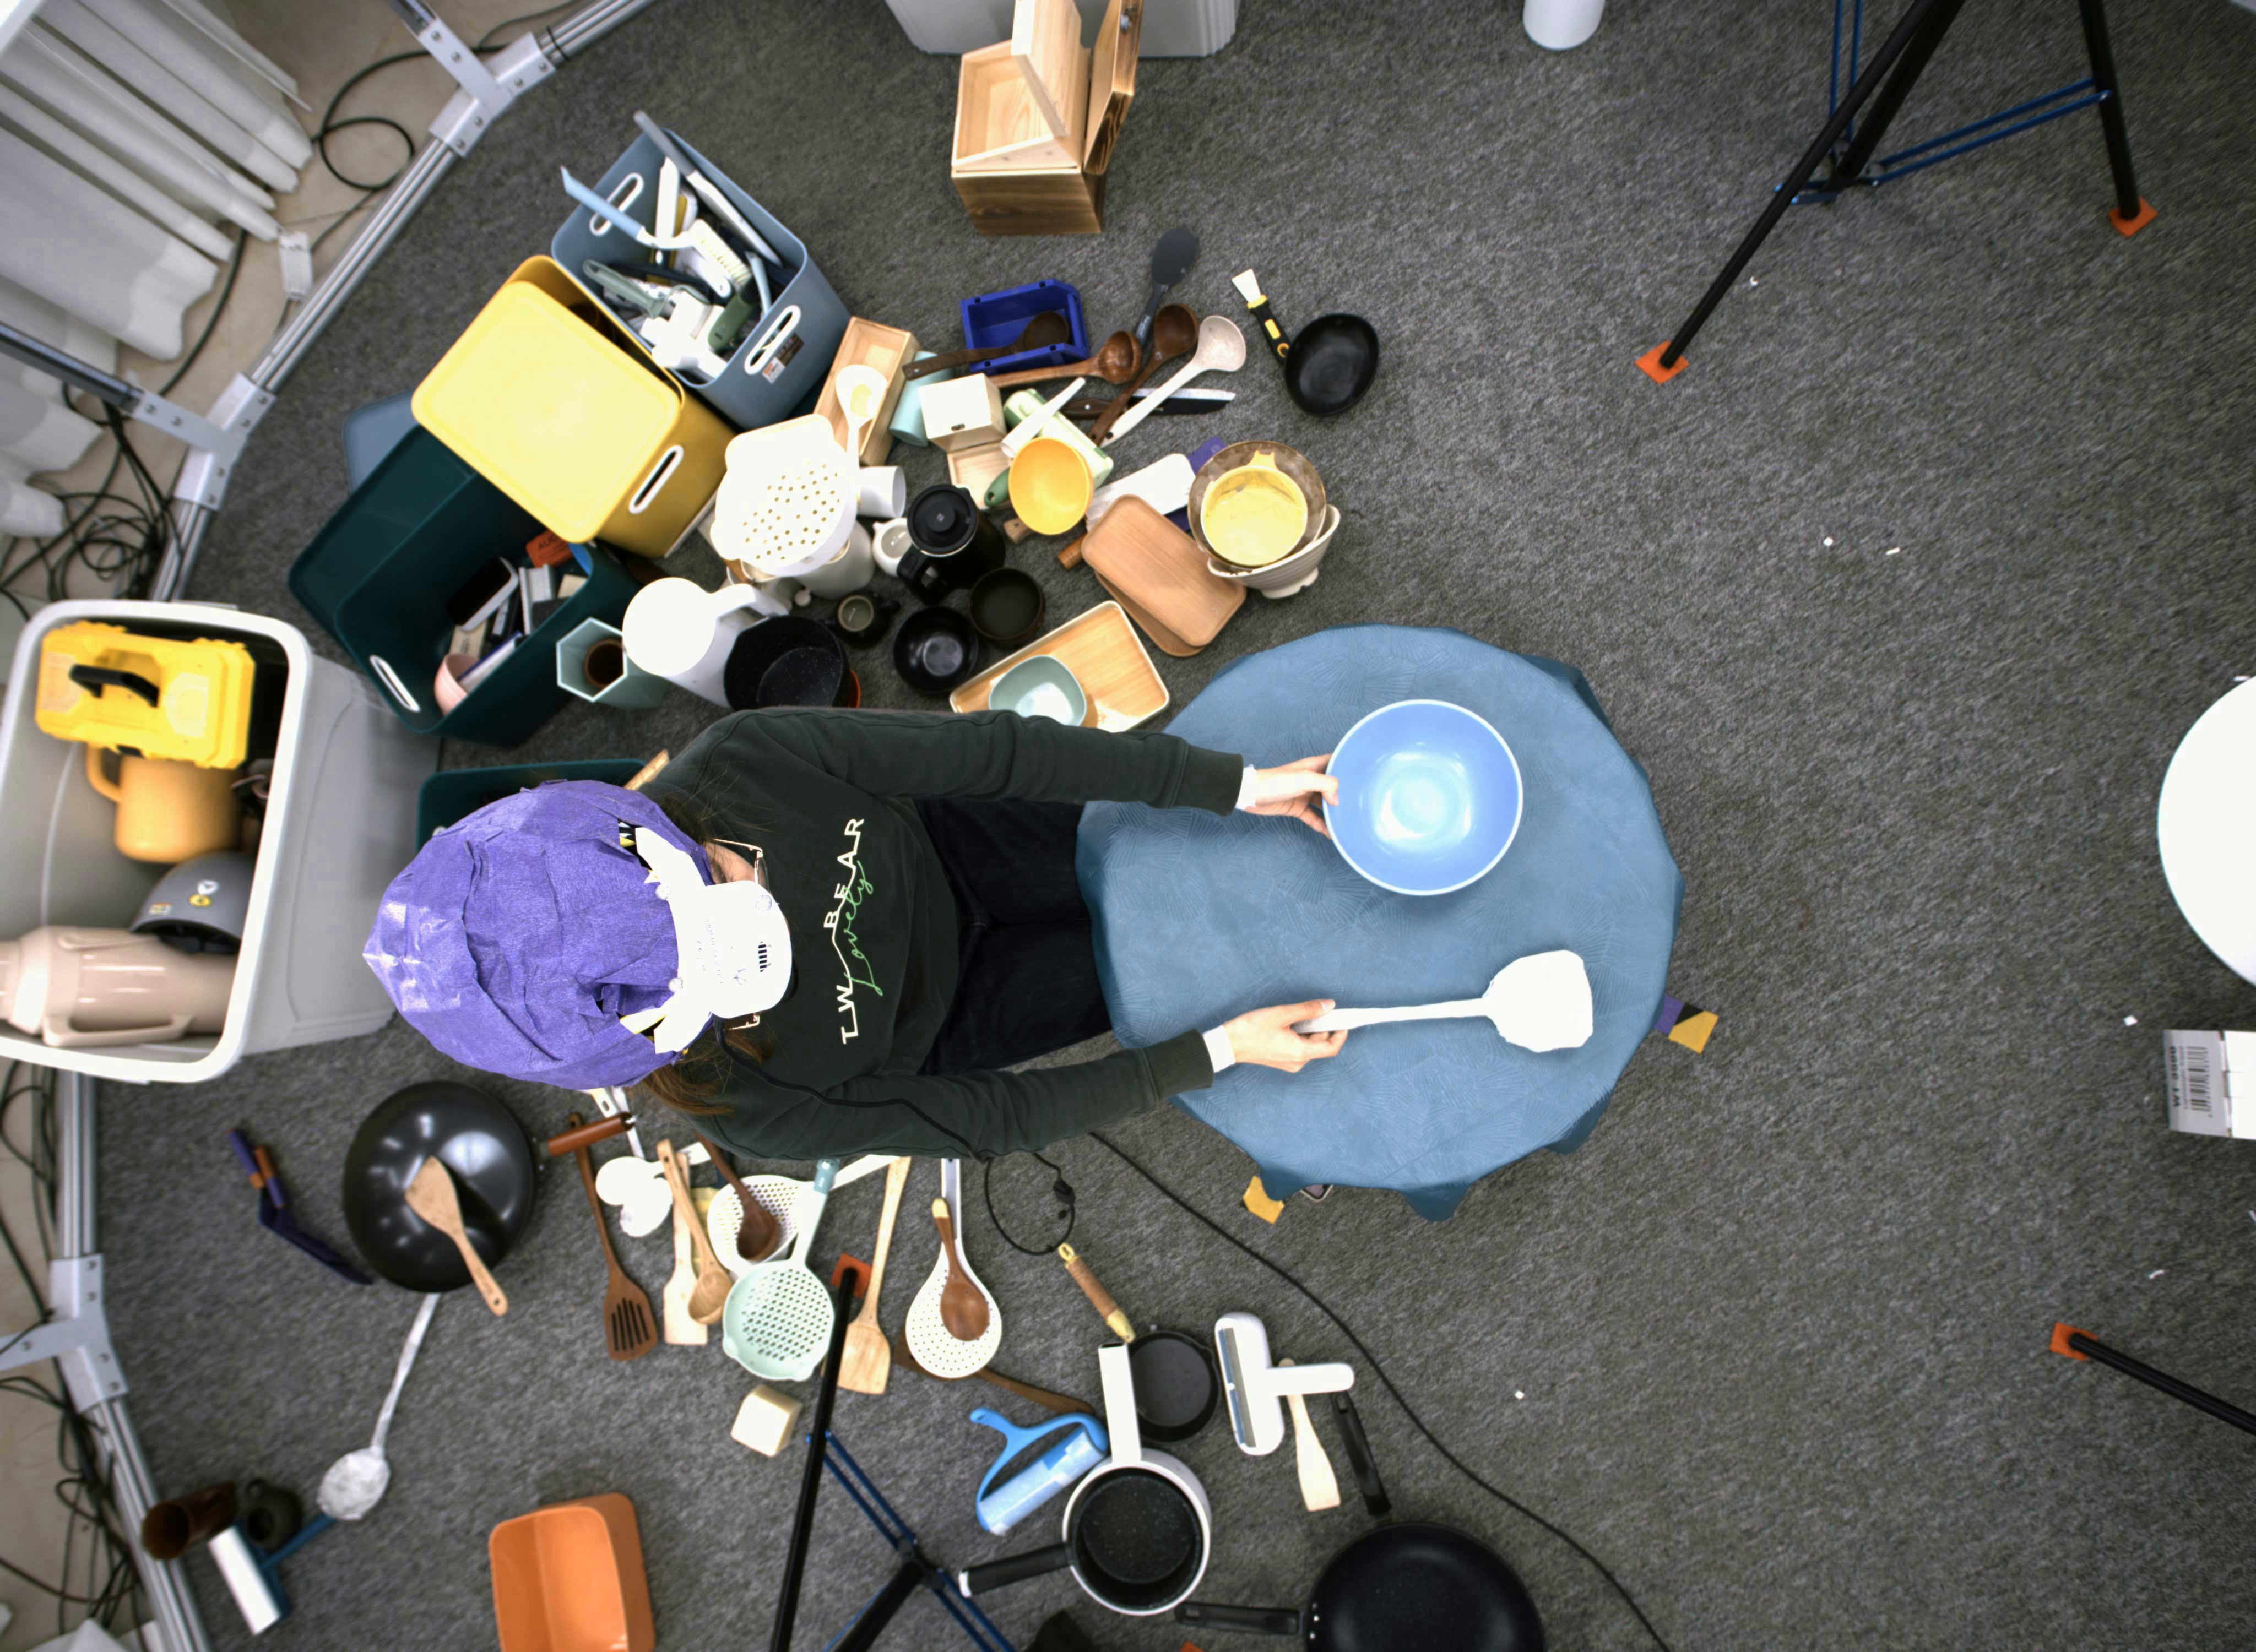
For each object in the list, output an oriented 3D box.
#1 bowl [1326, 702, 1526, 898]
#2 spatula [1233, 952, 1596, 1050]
[{"bbox_3d":[0.303,-0.024,1.415,0.197,0.095,0.196,0,88,9],"label":"bowl"},{"bbox_3d":[0.289,0.188,1.415,0.366,0.045,0.098,-5,83,7],"label":"spatula"}]
